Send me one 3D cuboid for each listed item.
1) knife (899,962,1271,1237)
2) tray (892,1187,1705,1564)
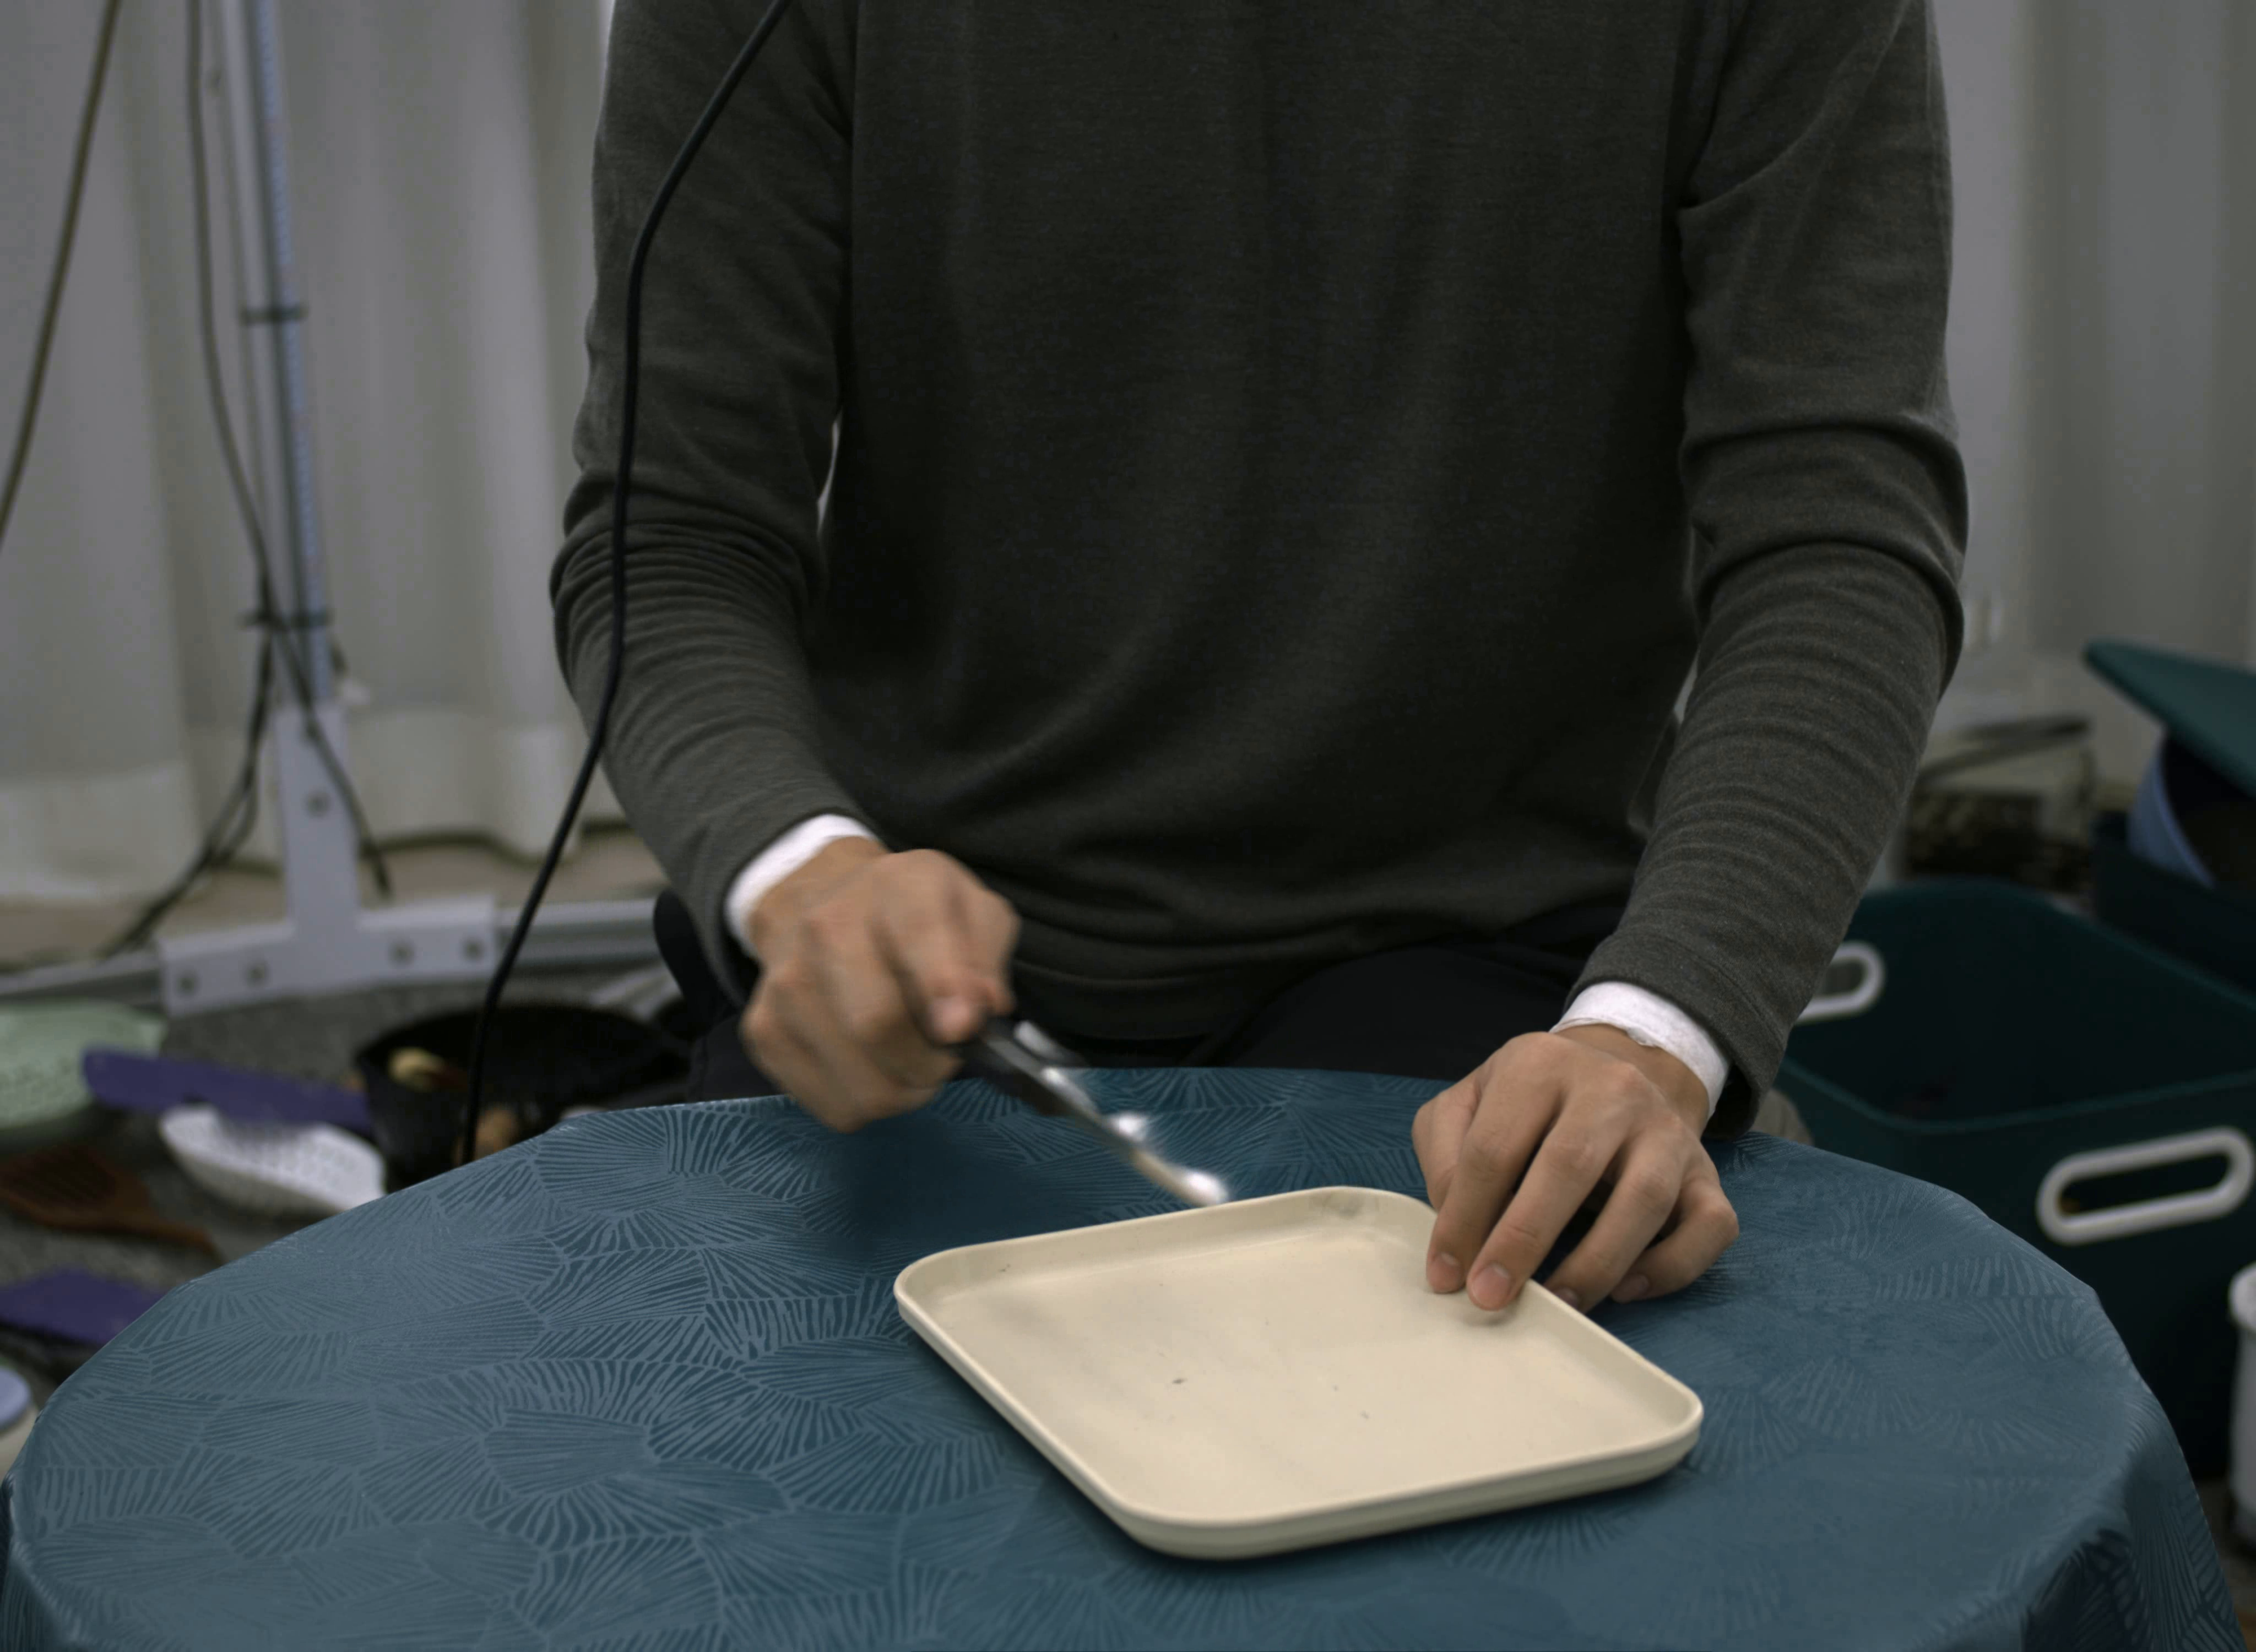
[{"bbox_3d":[-0.015,0.078,1.580,0.016,0.024,0.240,-41,28,-10],"label":"knife"},{"bbox_3d":[0.043,0.152,1.535,0.170,0.017,0.241,-9,16,-19],"label":"tray"}]
